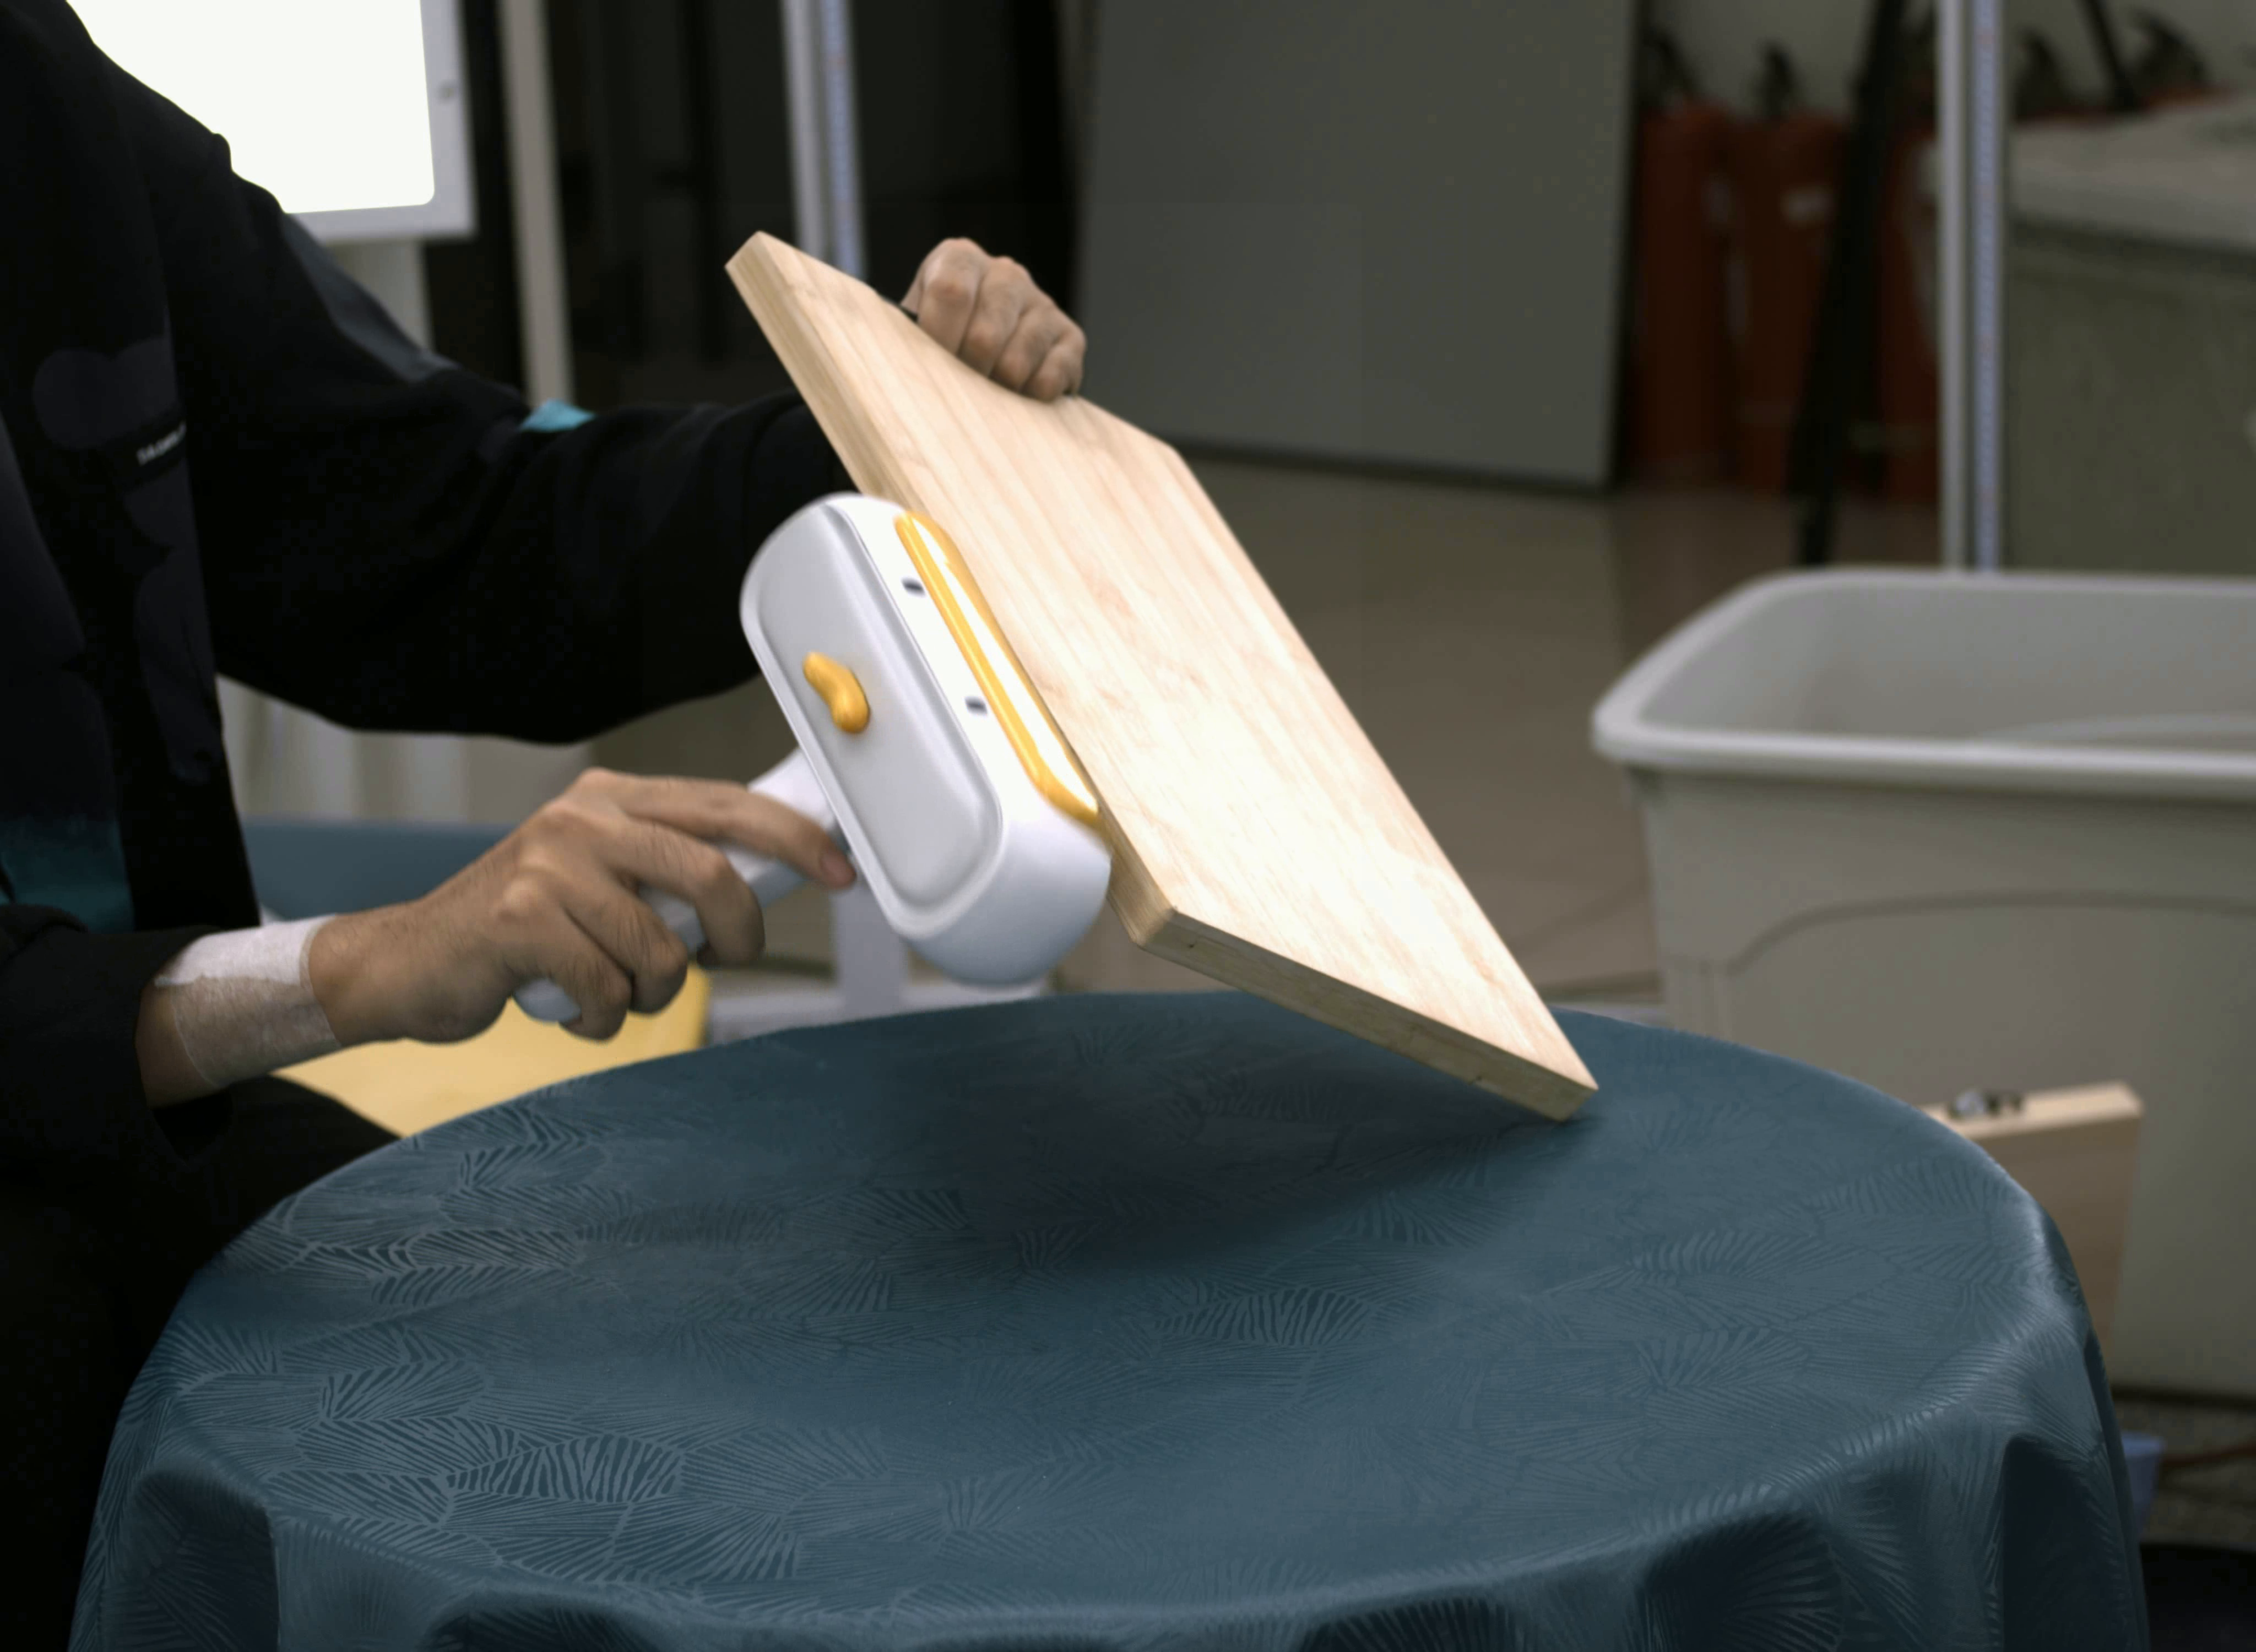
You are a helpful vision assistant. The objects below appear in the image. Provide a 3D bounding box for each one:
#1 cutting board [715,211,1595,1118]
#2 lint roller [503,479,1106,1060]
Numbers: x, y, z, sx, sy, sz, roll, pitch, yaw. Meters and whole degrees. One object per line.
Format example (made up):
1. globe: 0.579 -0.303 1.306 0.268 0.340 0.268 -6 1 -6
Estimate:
1. cutting board: 0.007 -0.056 1.836 0.246 0.024 0.353 25 26 -47
2. lint roller: -0.112 0.005 1.697 0.073 0.193 0.195 32 19 -50
